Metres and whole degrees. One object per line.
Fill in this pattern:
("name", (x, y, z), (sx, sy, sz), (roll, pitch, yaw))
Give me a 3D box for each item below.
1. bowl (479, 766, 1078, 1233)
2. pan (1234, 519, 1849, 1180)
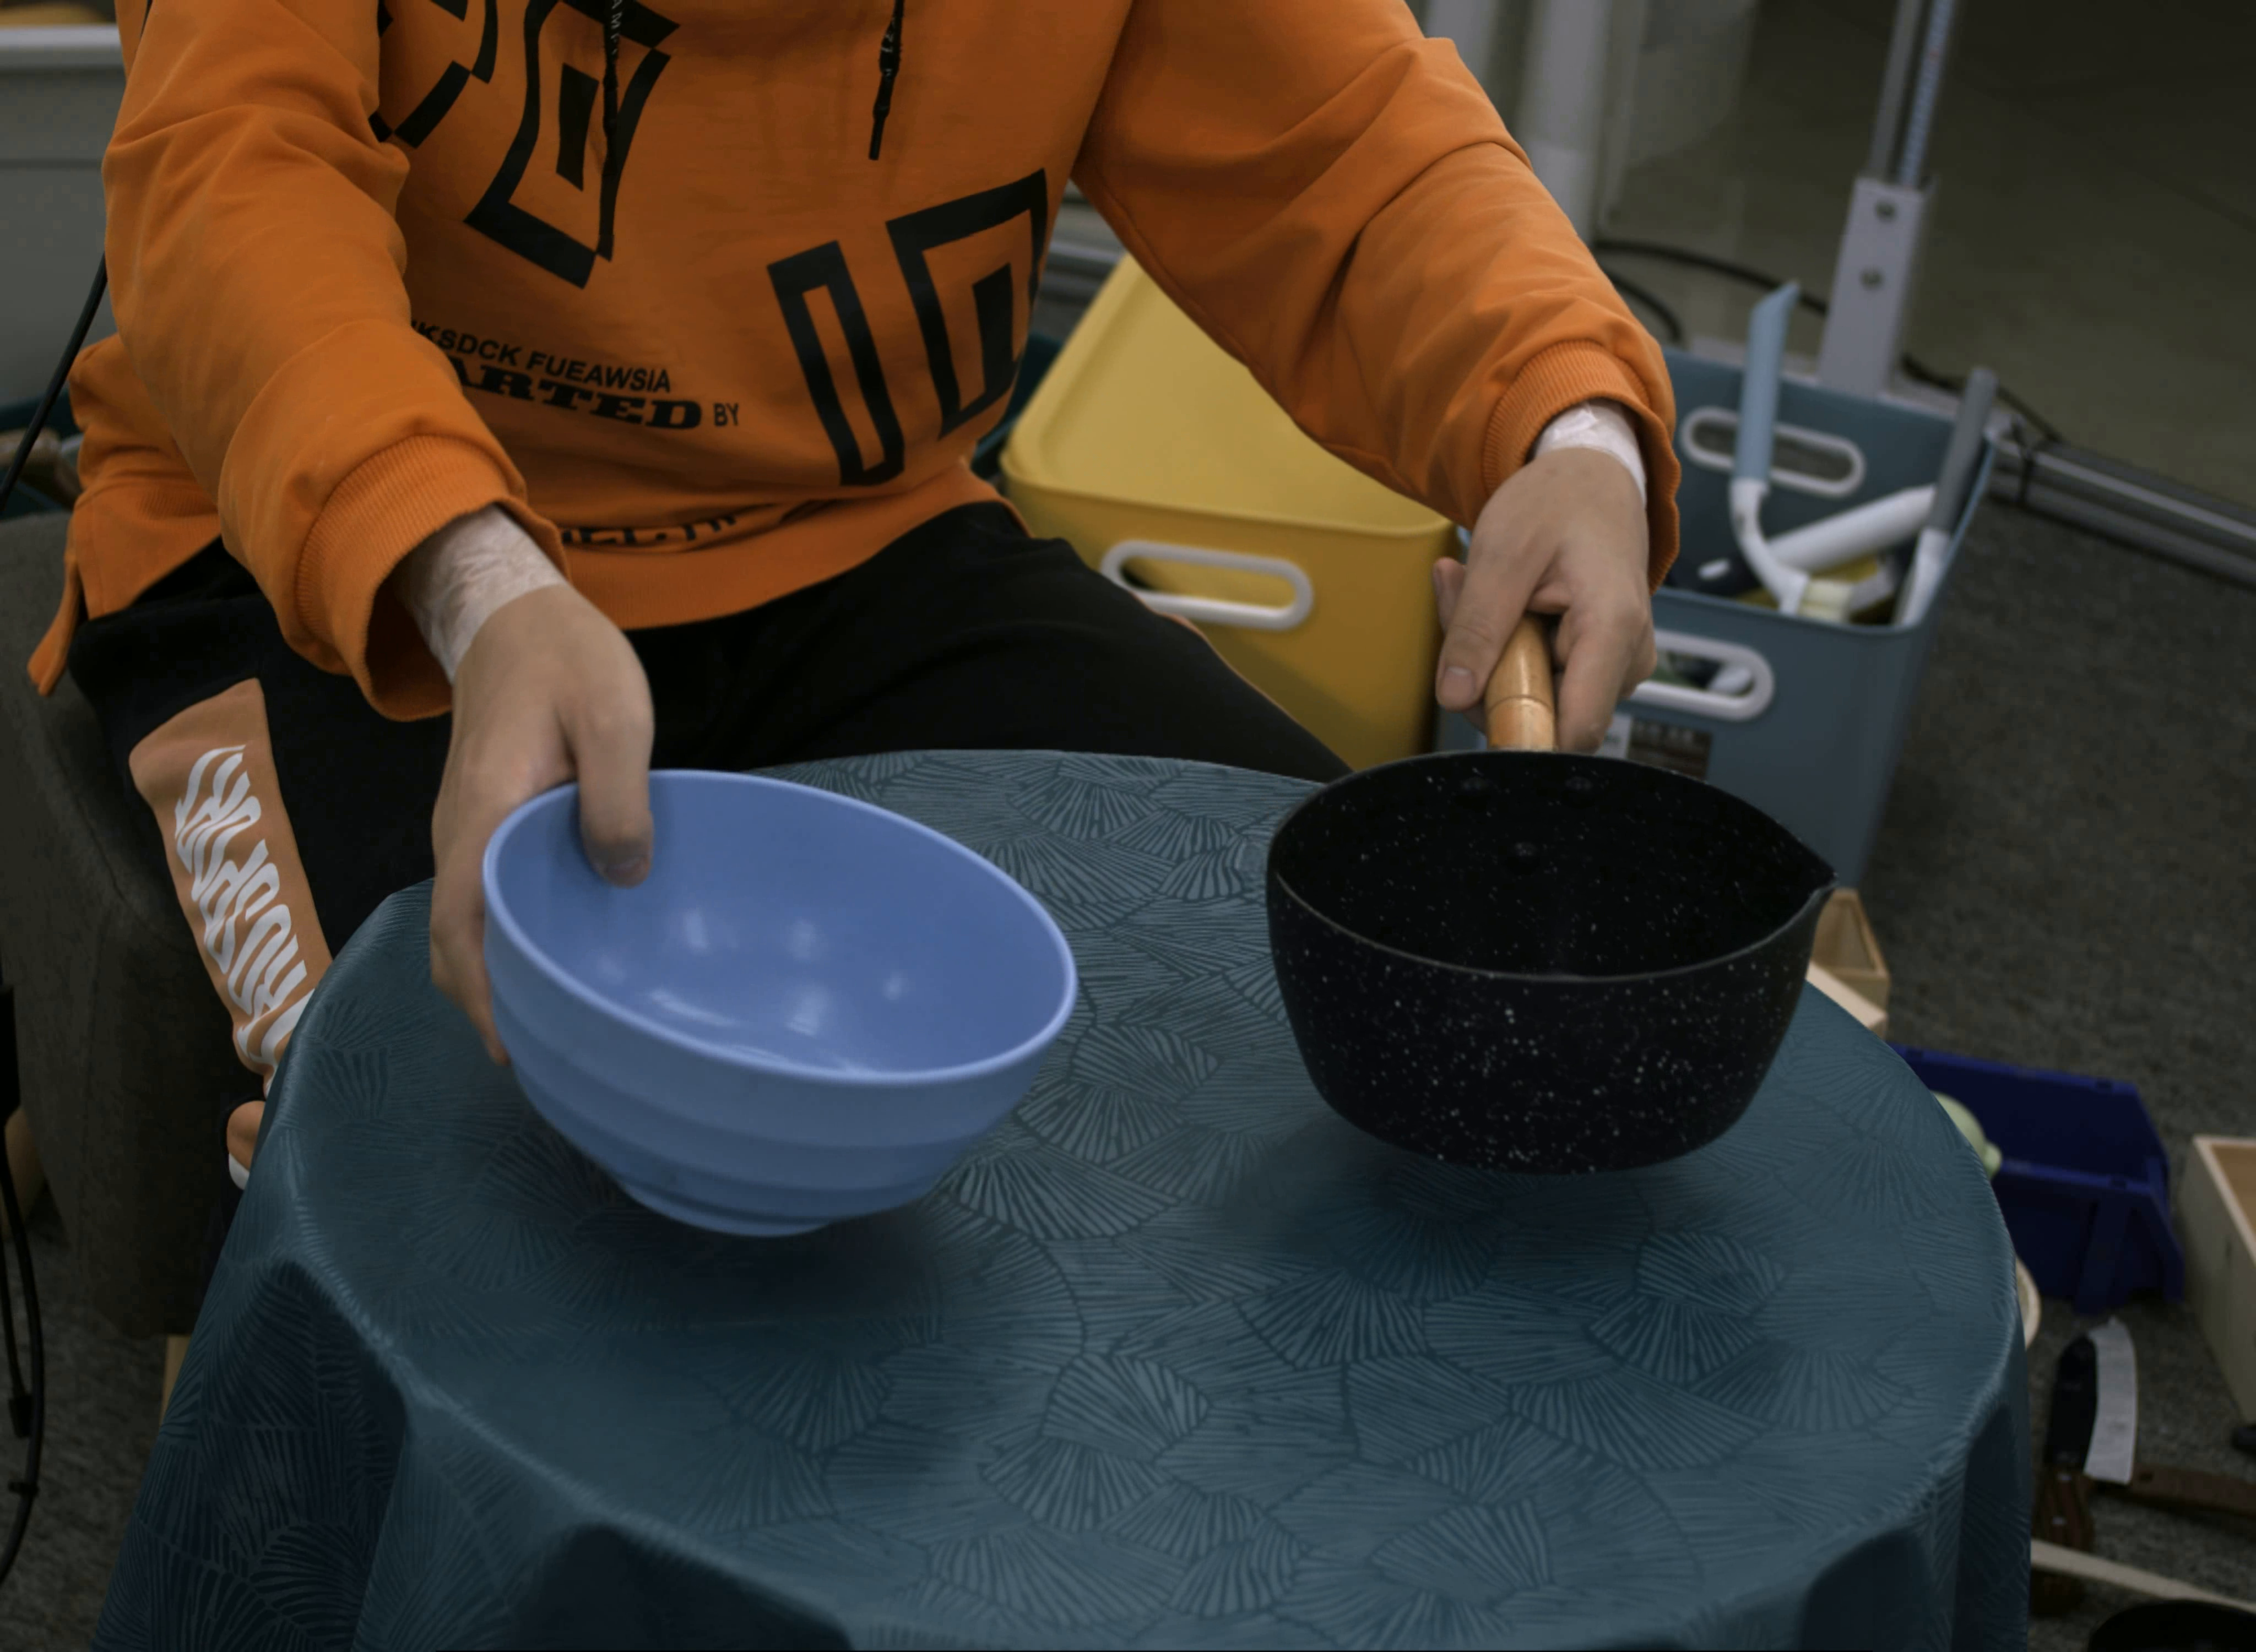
("bowl", (-0.122, 0.068, 1.727), (0.195, 0.095, 0.197), (12, 26, -6))
("pan", (0.138, 0.004, 1.877), (0.207, 0.108, 0.345), (0, 26, 0))
